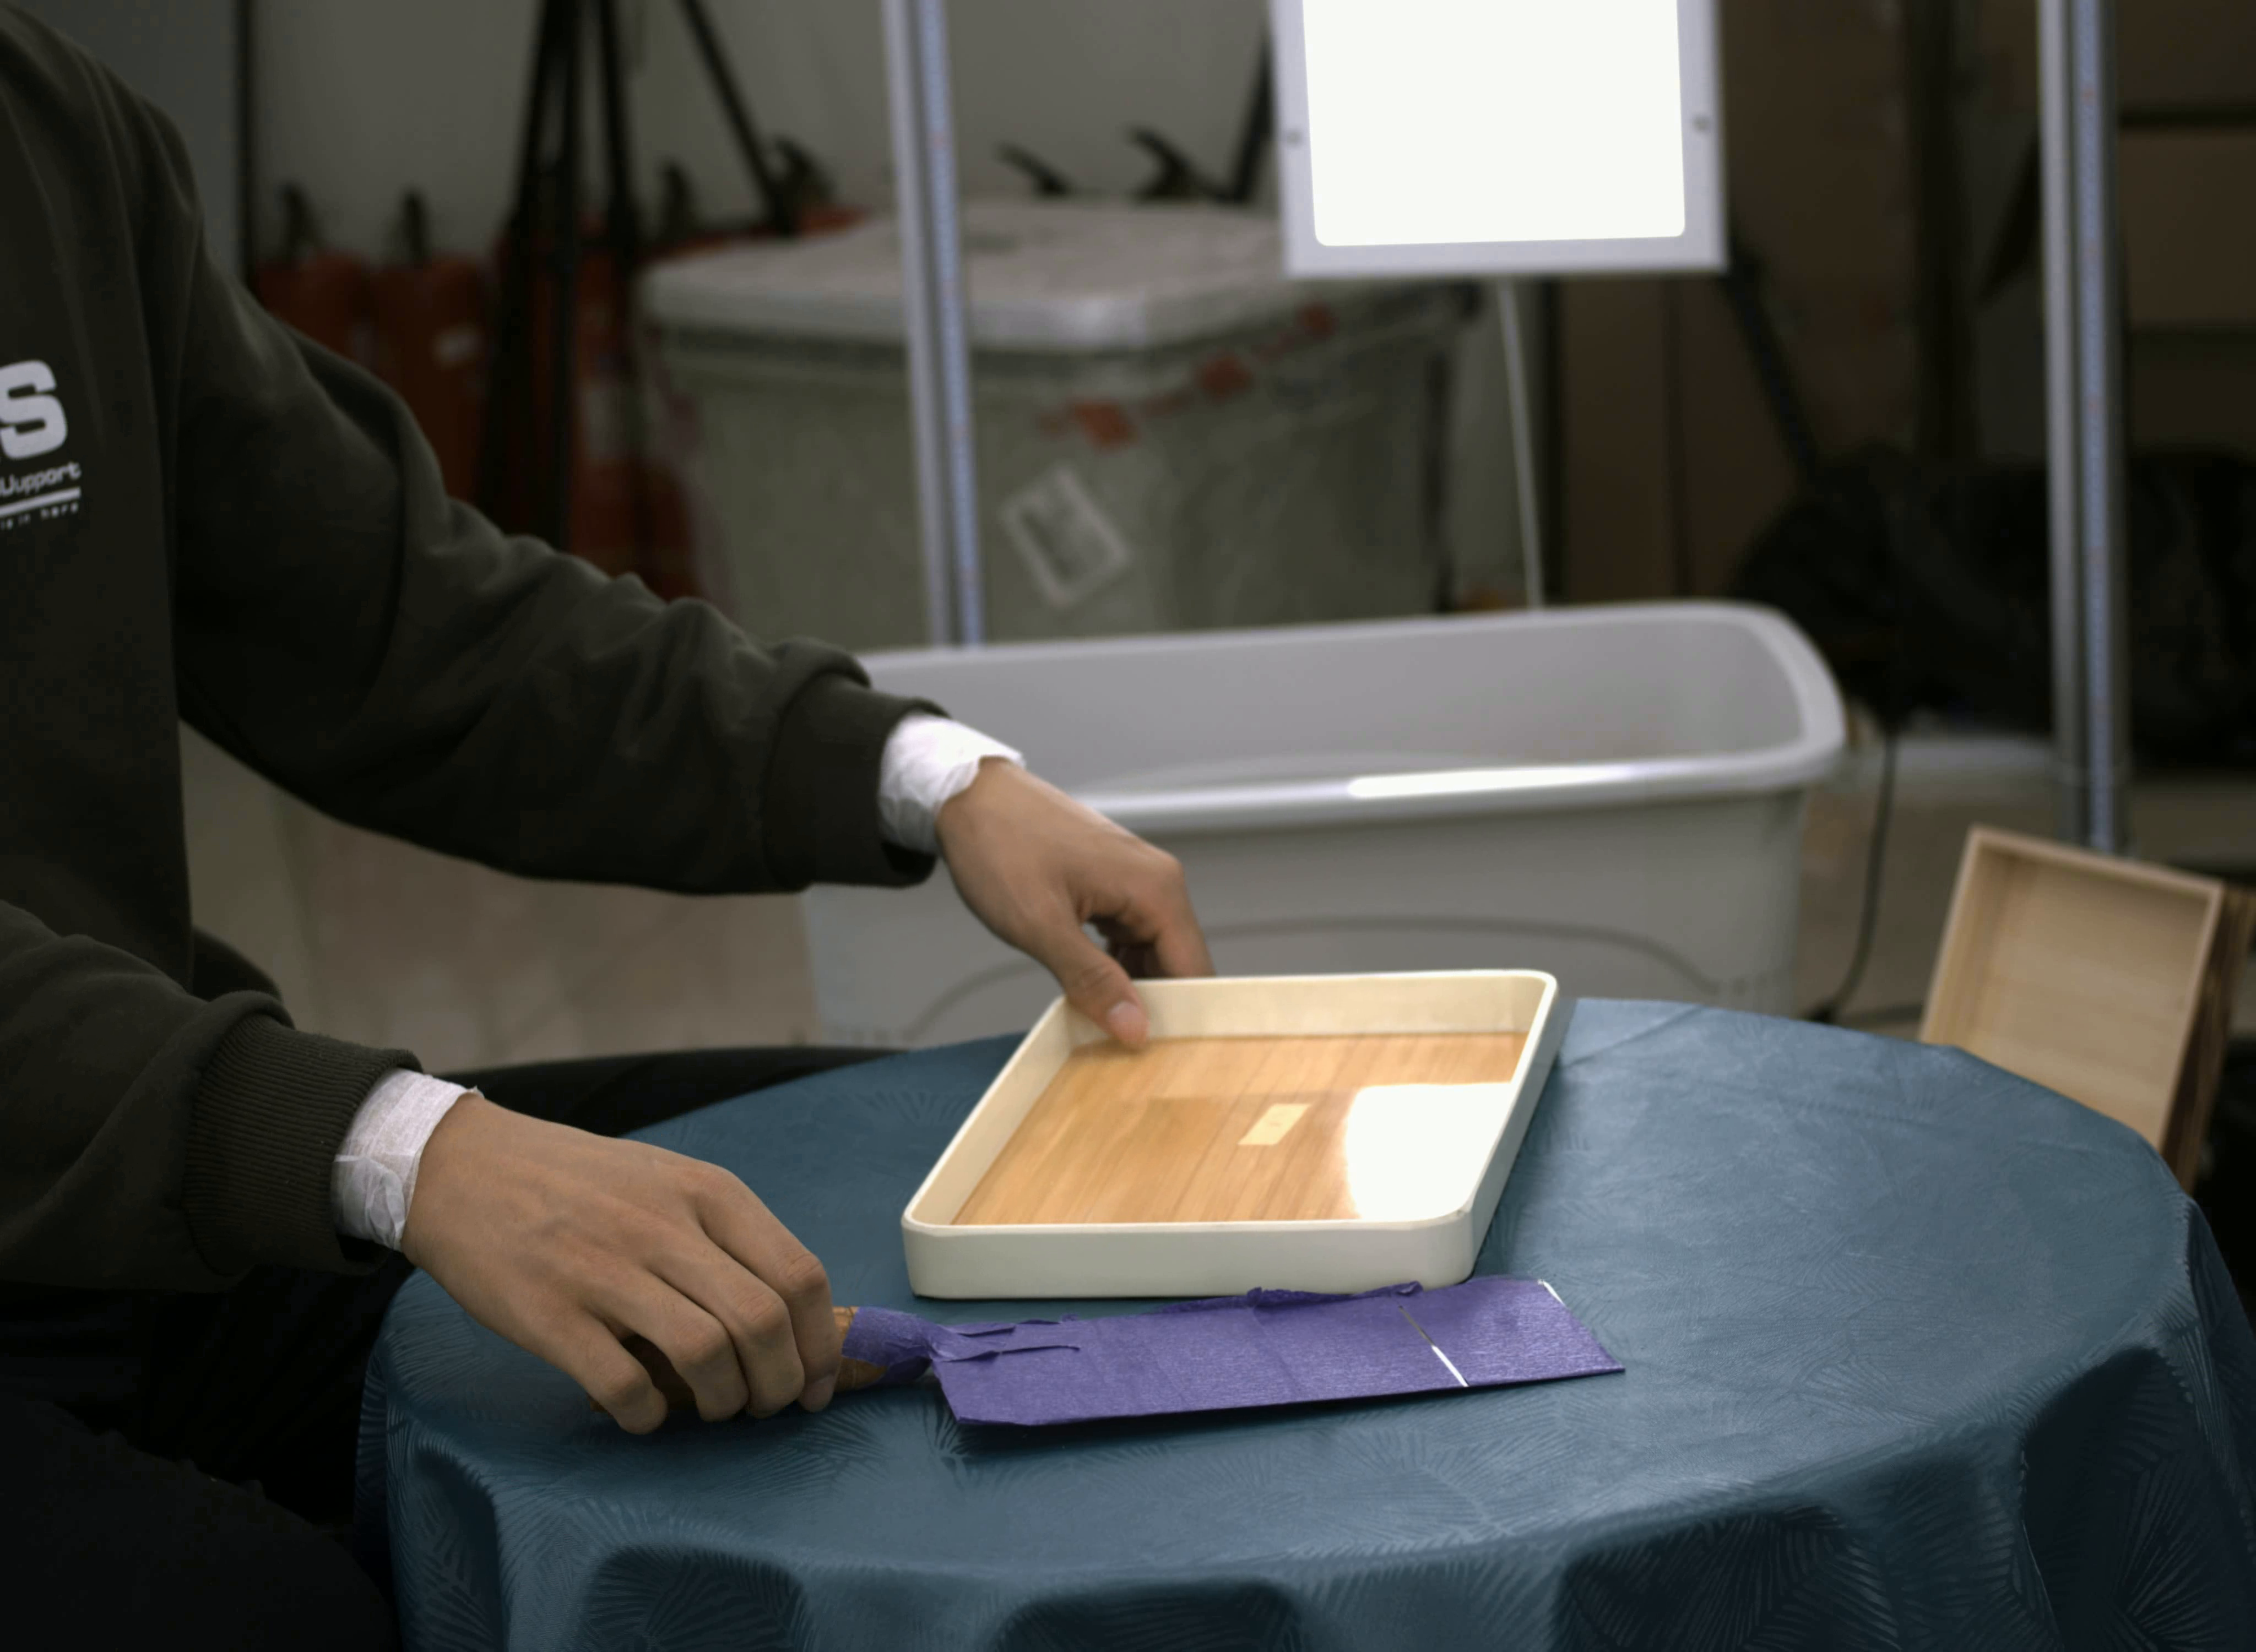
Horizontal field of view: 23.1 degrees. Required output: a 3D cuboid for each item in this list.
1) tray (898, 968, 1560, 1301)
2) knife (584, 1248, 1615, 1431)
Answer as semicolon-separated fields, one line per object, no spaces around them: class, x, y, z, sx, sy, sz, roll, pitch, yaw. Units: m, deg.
tray;0.042;0.105;1.921;0.193;0.027;0.296;-3;14;13
knife;-0.009;0.162;1.704;0.312;0.032;0.104;-7;13;-8
